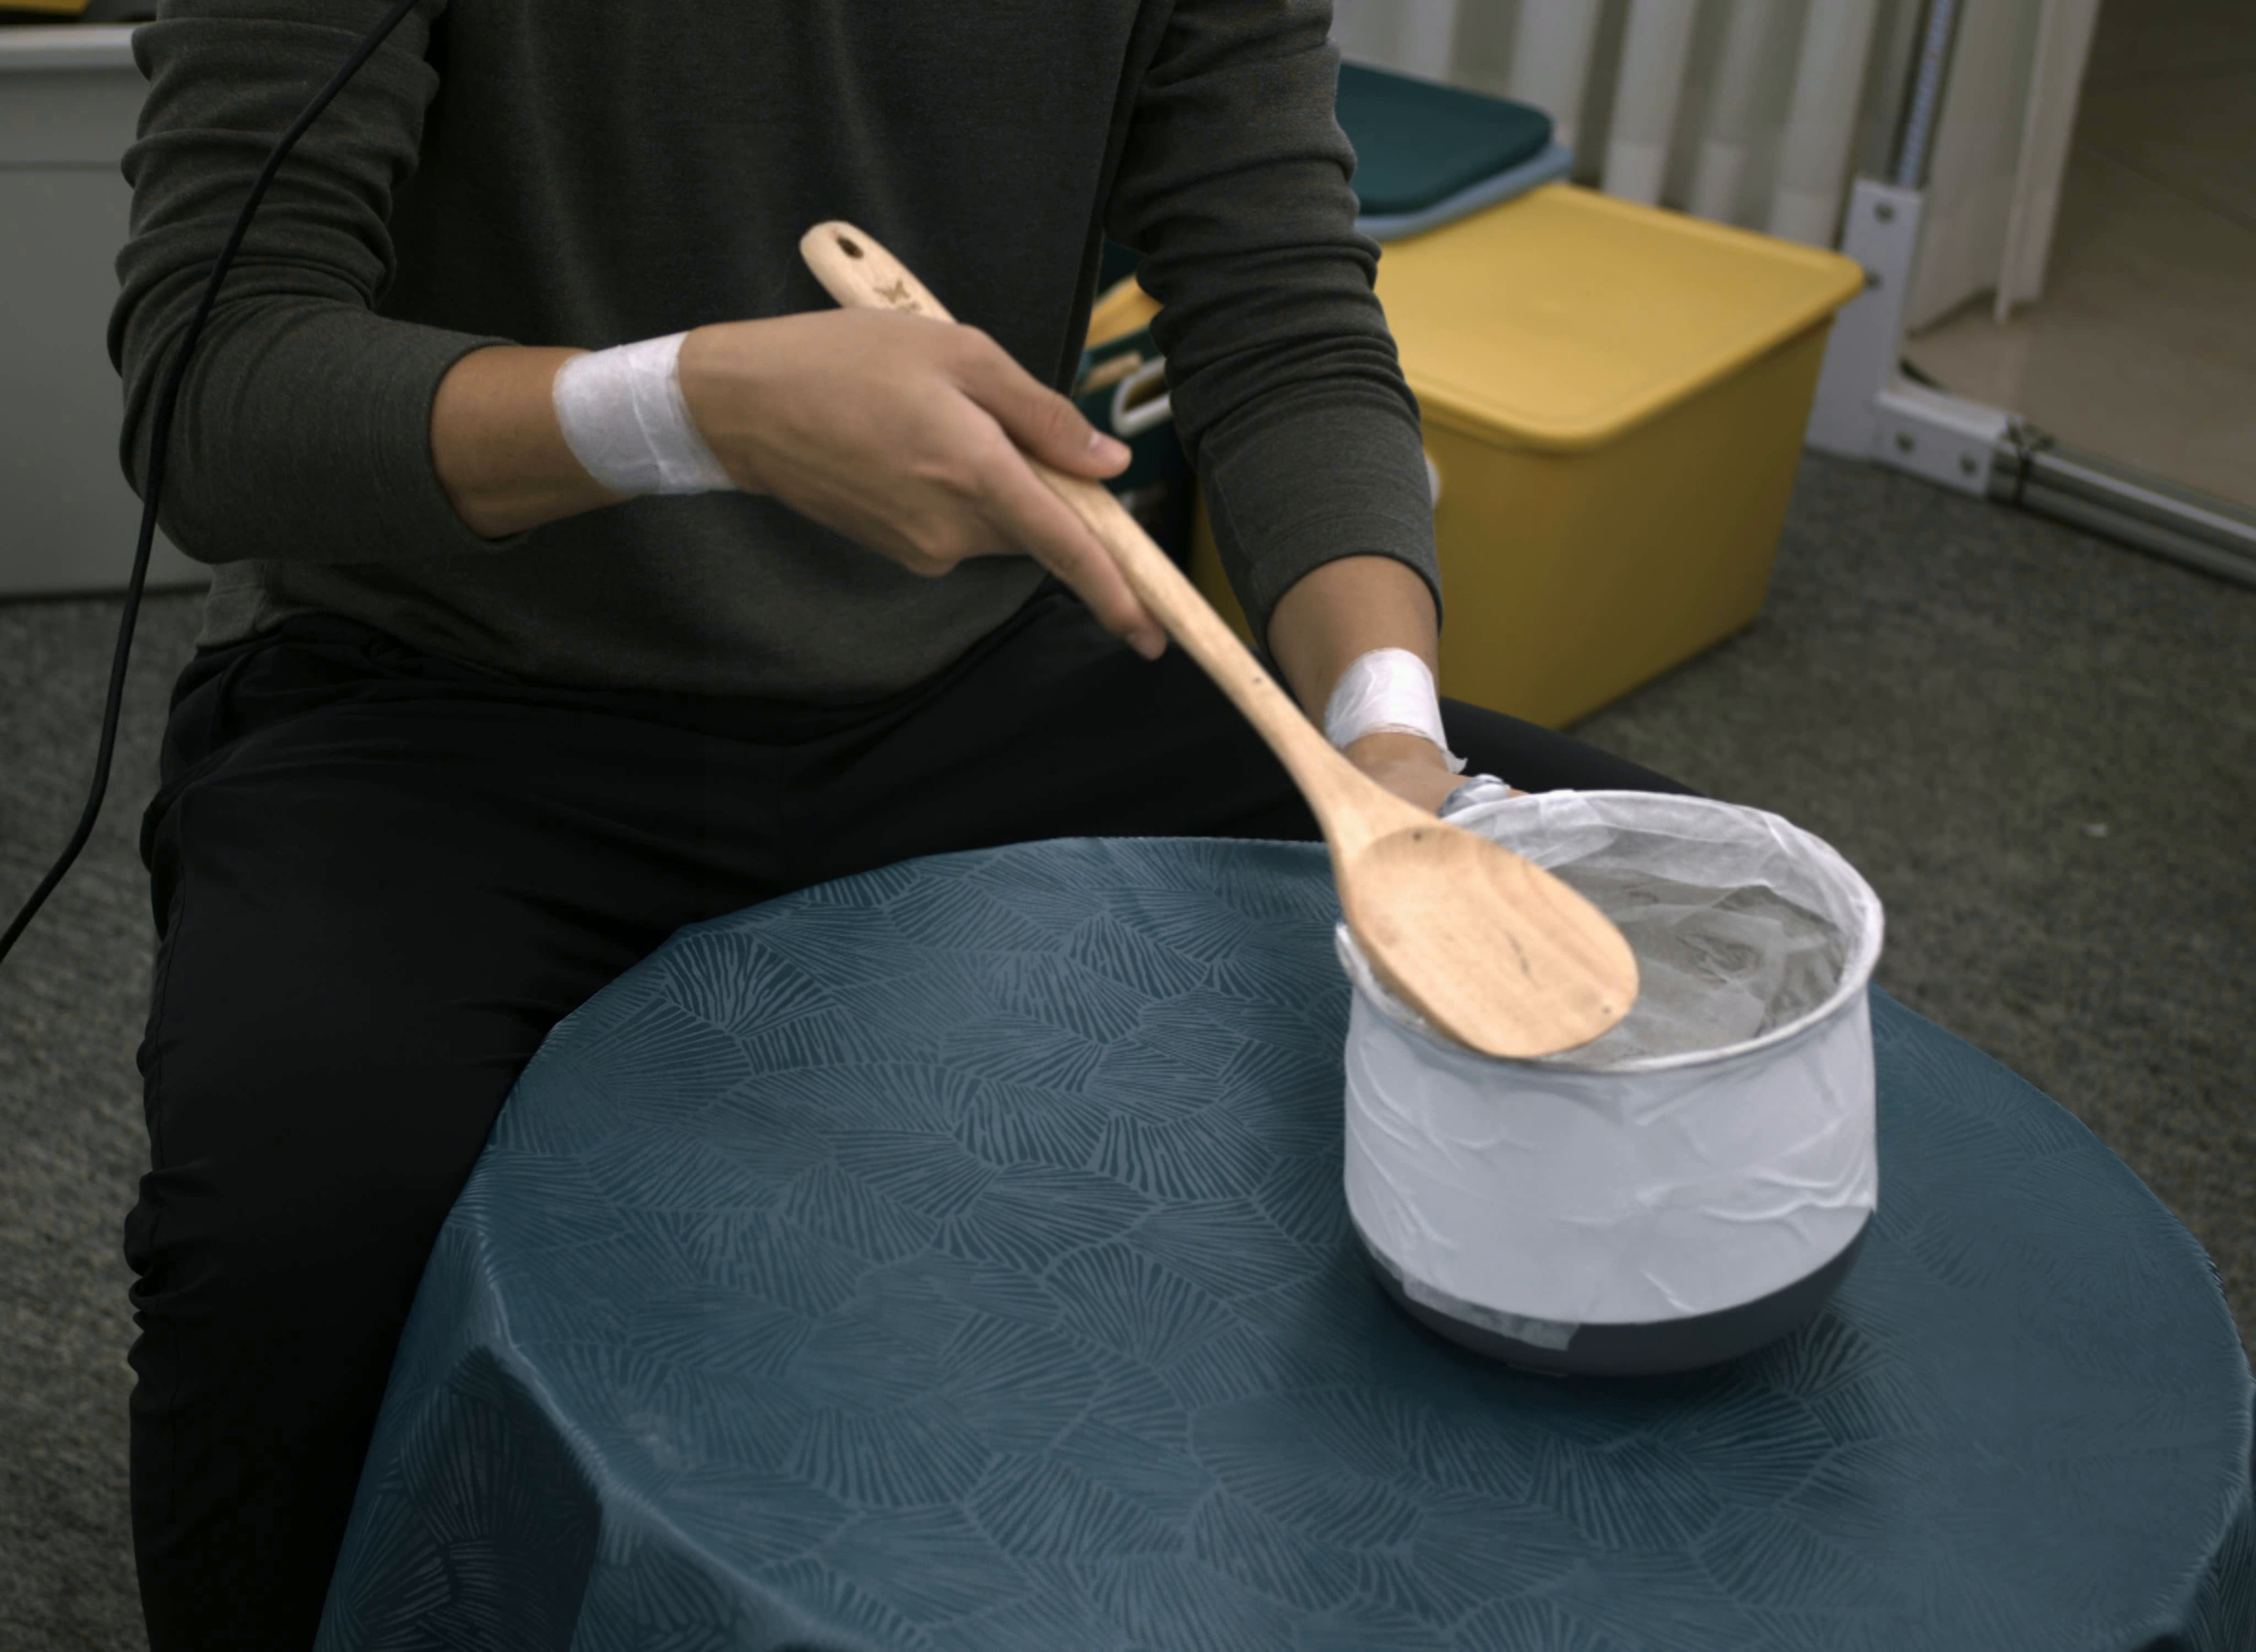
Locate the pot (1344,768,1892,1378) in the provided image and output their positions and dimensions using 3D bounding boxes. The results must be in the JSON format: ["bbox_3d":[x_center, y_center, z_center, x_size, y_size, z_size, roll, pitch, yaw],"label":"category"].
[{"bbox_3d":[0.148,0.074,1.768,0.178,0.136,0.236,-12,31,-18],"label":"pot"}]

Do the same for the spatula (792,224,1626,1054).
[{"bbox_3d":[0.011,-0.065,1.700,0.095,0.018,0.393,-17,57,-46],"label":"spatula"}]
